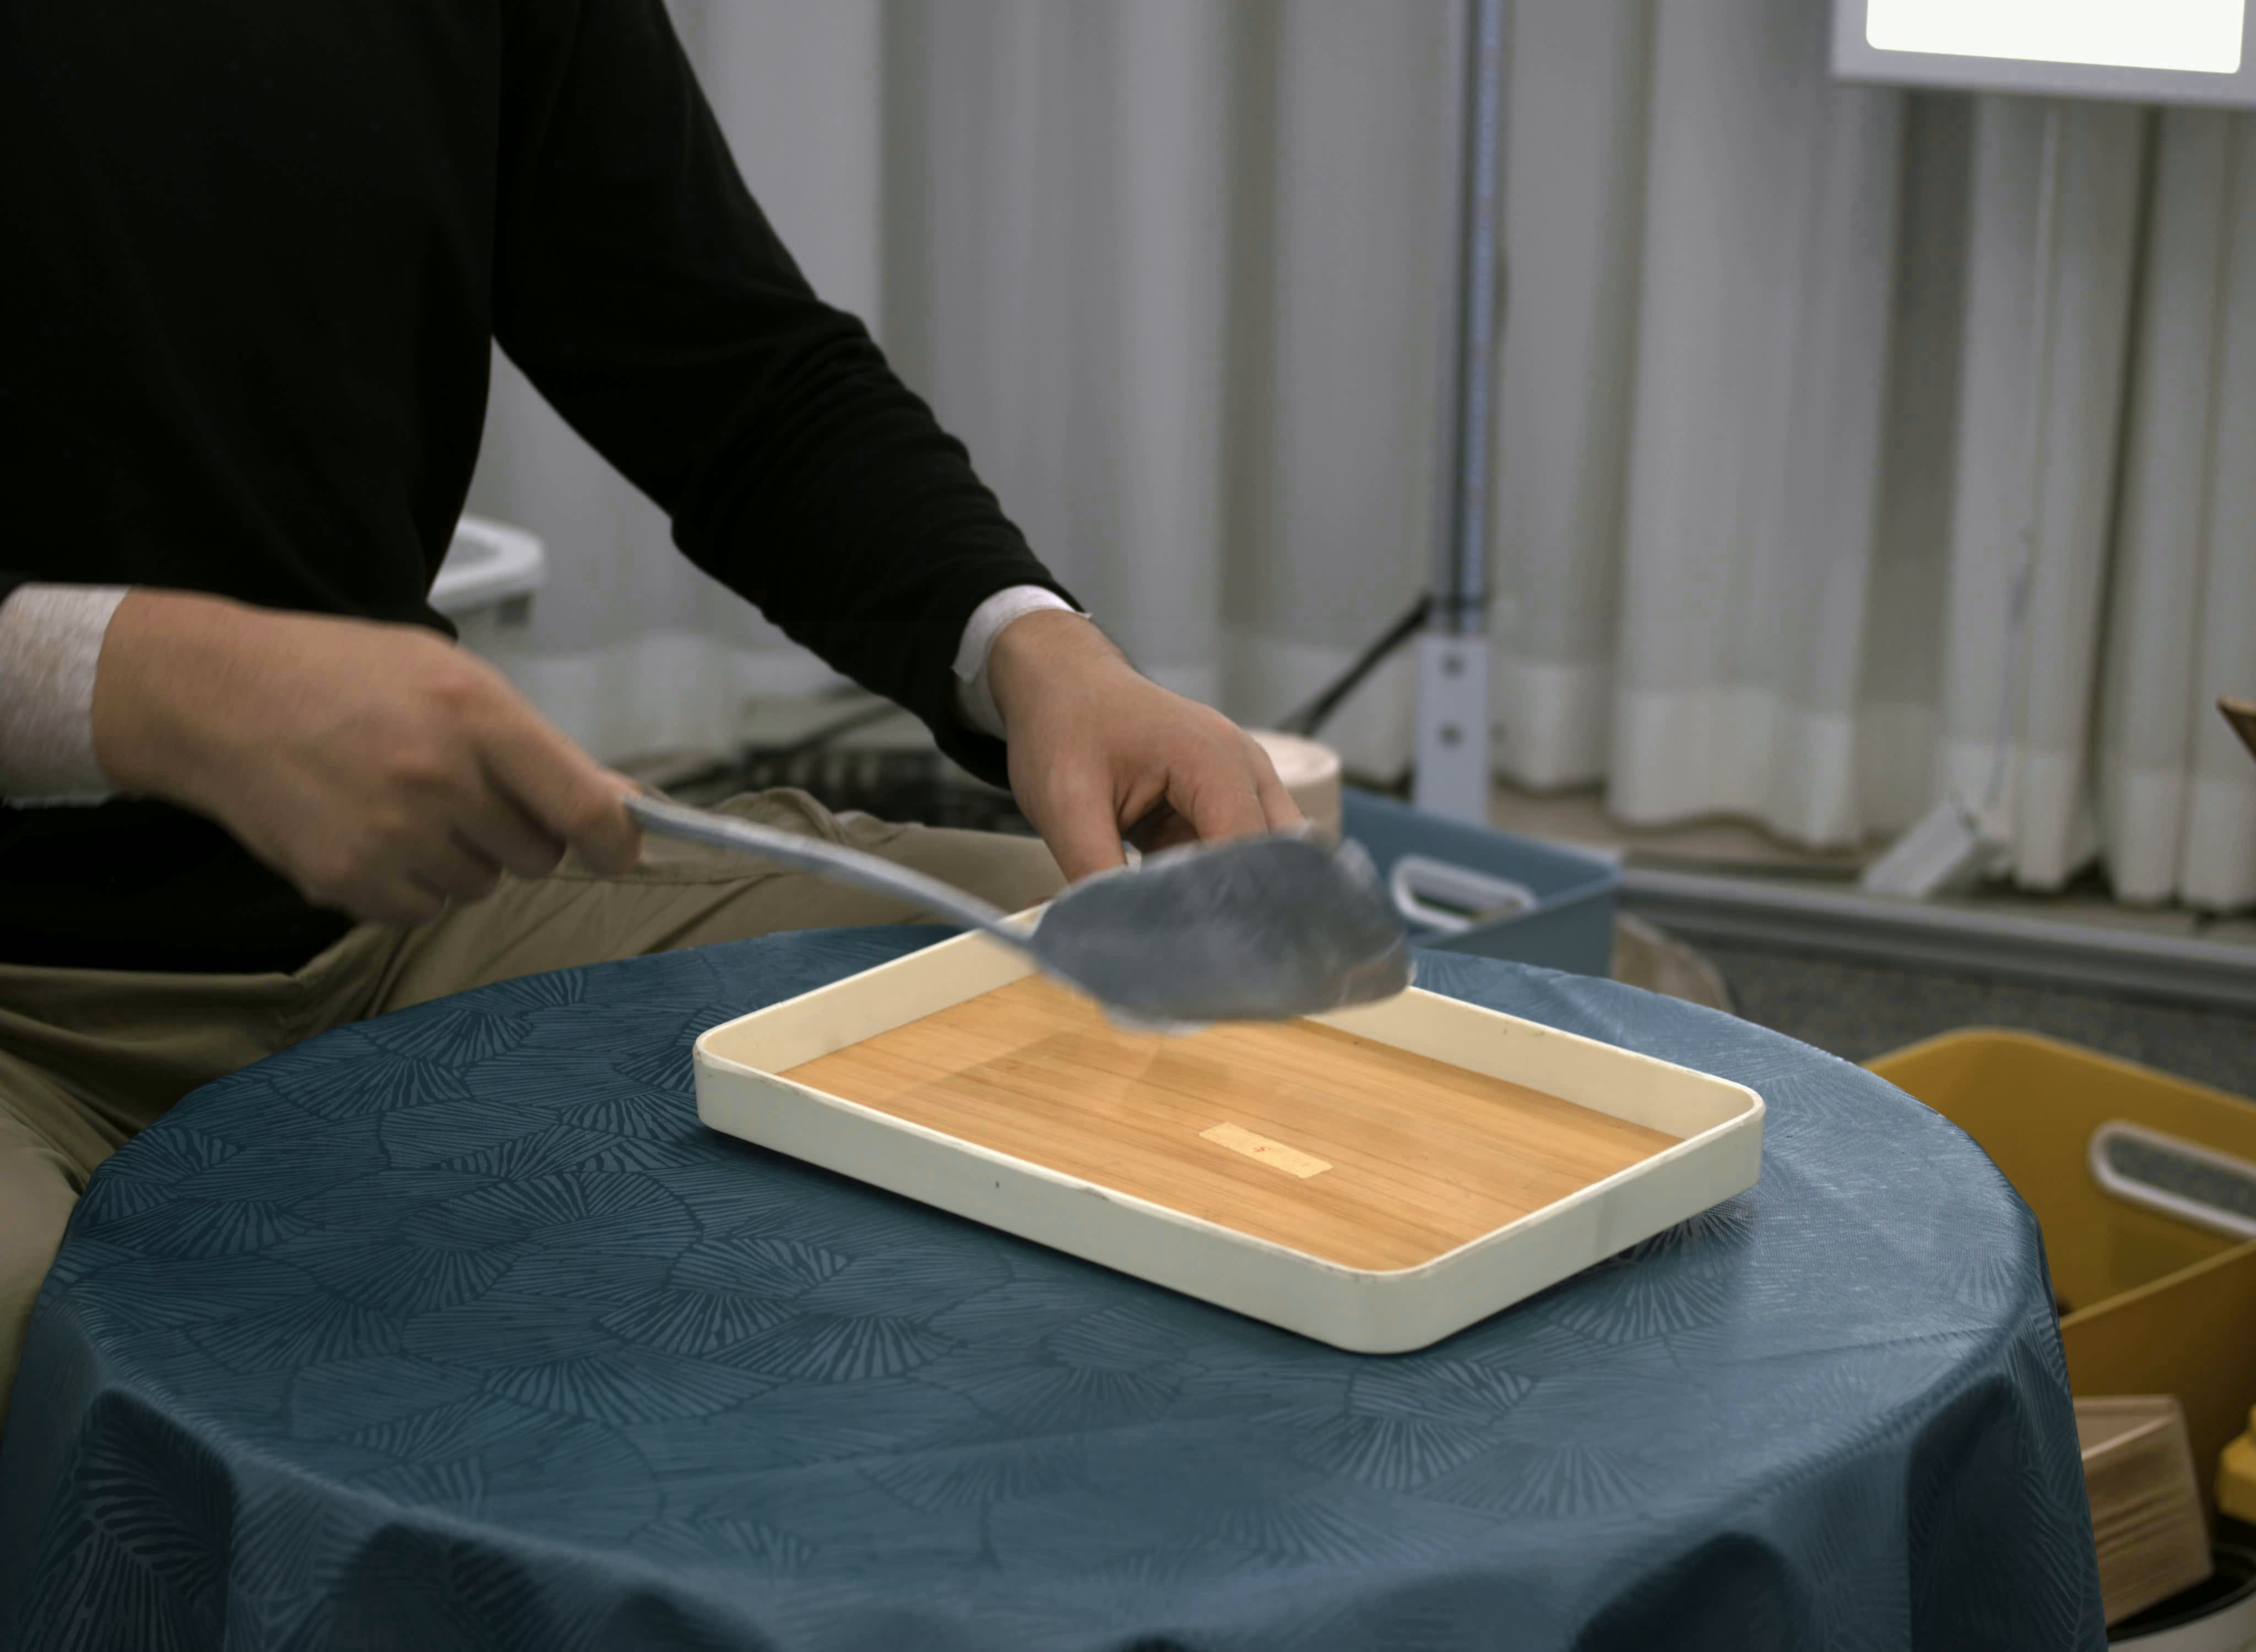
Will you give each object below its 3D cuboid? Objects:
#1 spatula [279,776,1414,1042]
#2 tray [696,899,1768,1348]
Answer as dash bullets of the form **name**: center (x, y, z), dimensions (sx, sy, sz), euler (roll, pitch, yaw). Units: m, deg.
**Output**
- **spatula**: center (-0.093, 0.011, 1.503), dimensions (0.361, 0.044, 0.100), euler (13, -22, 26)
- **tray**: center (0.029, 0.087, 1.634), dimensions (0.296, 0.027, 0.192), euler (16, 25, 40)
